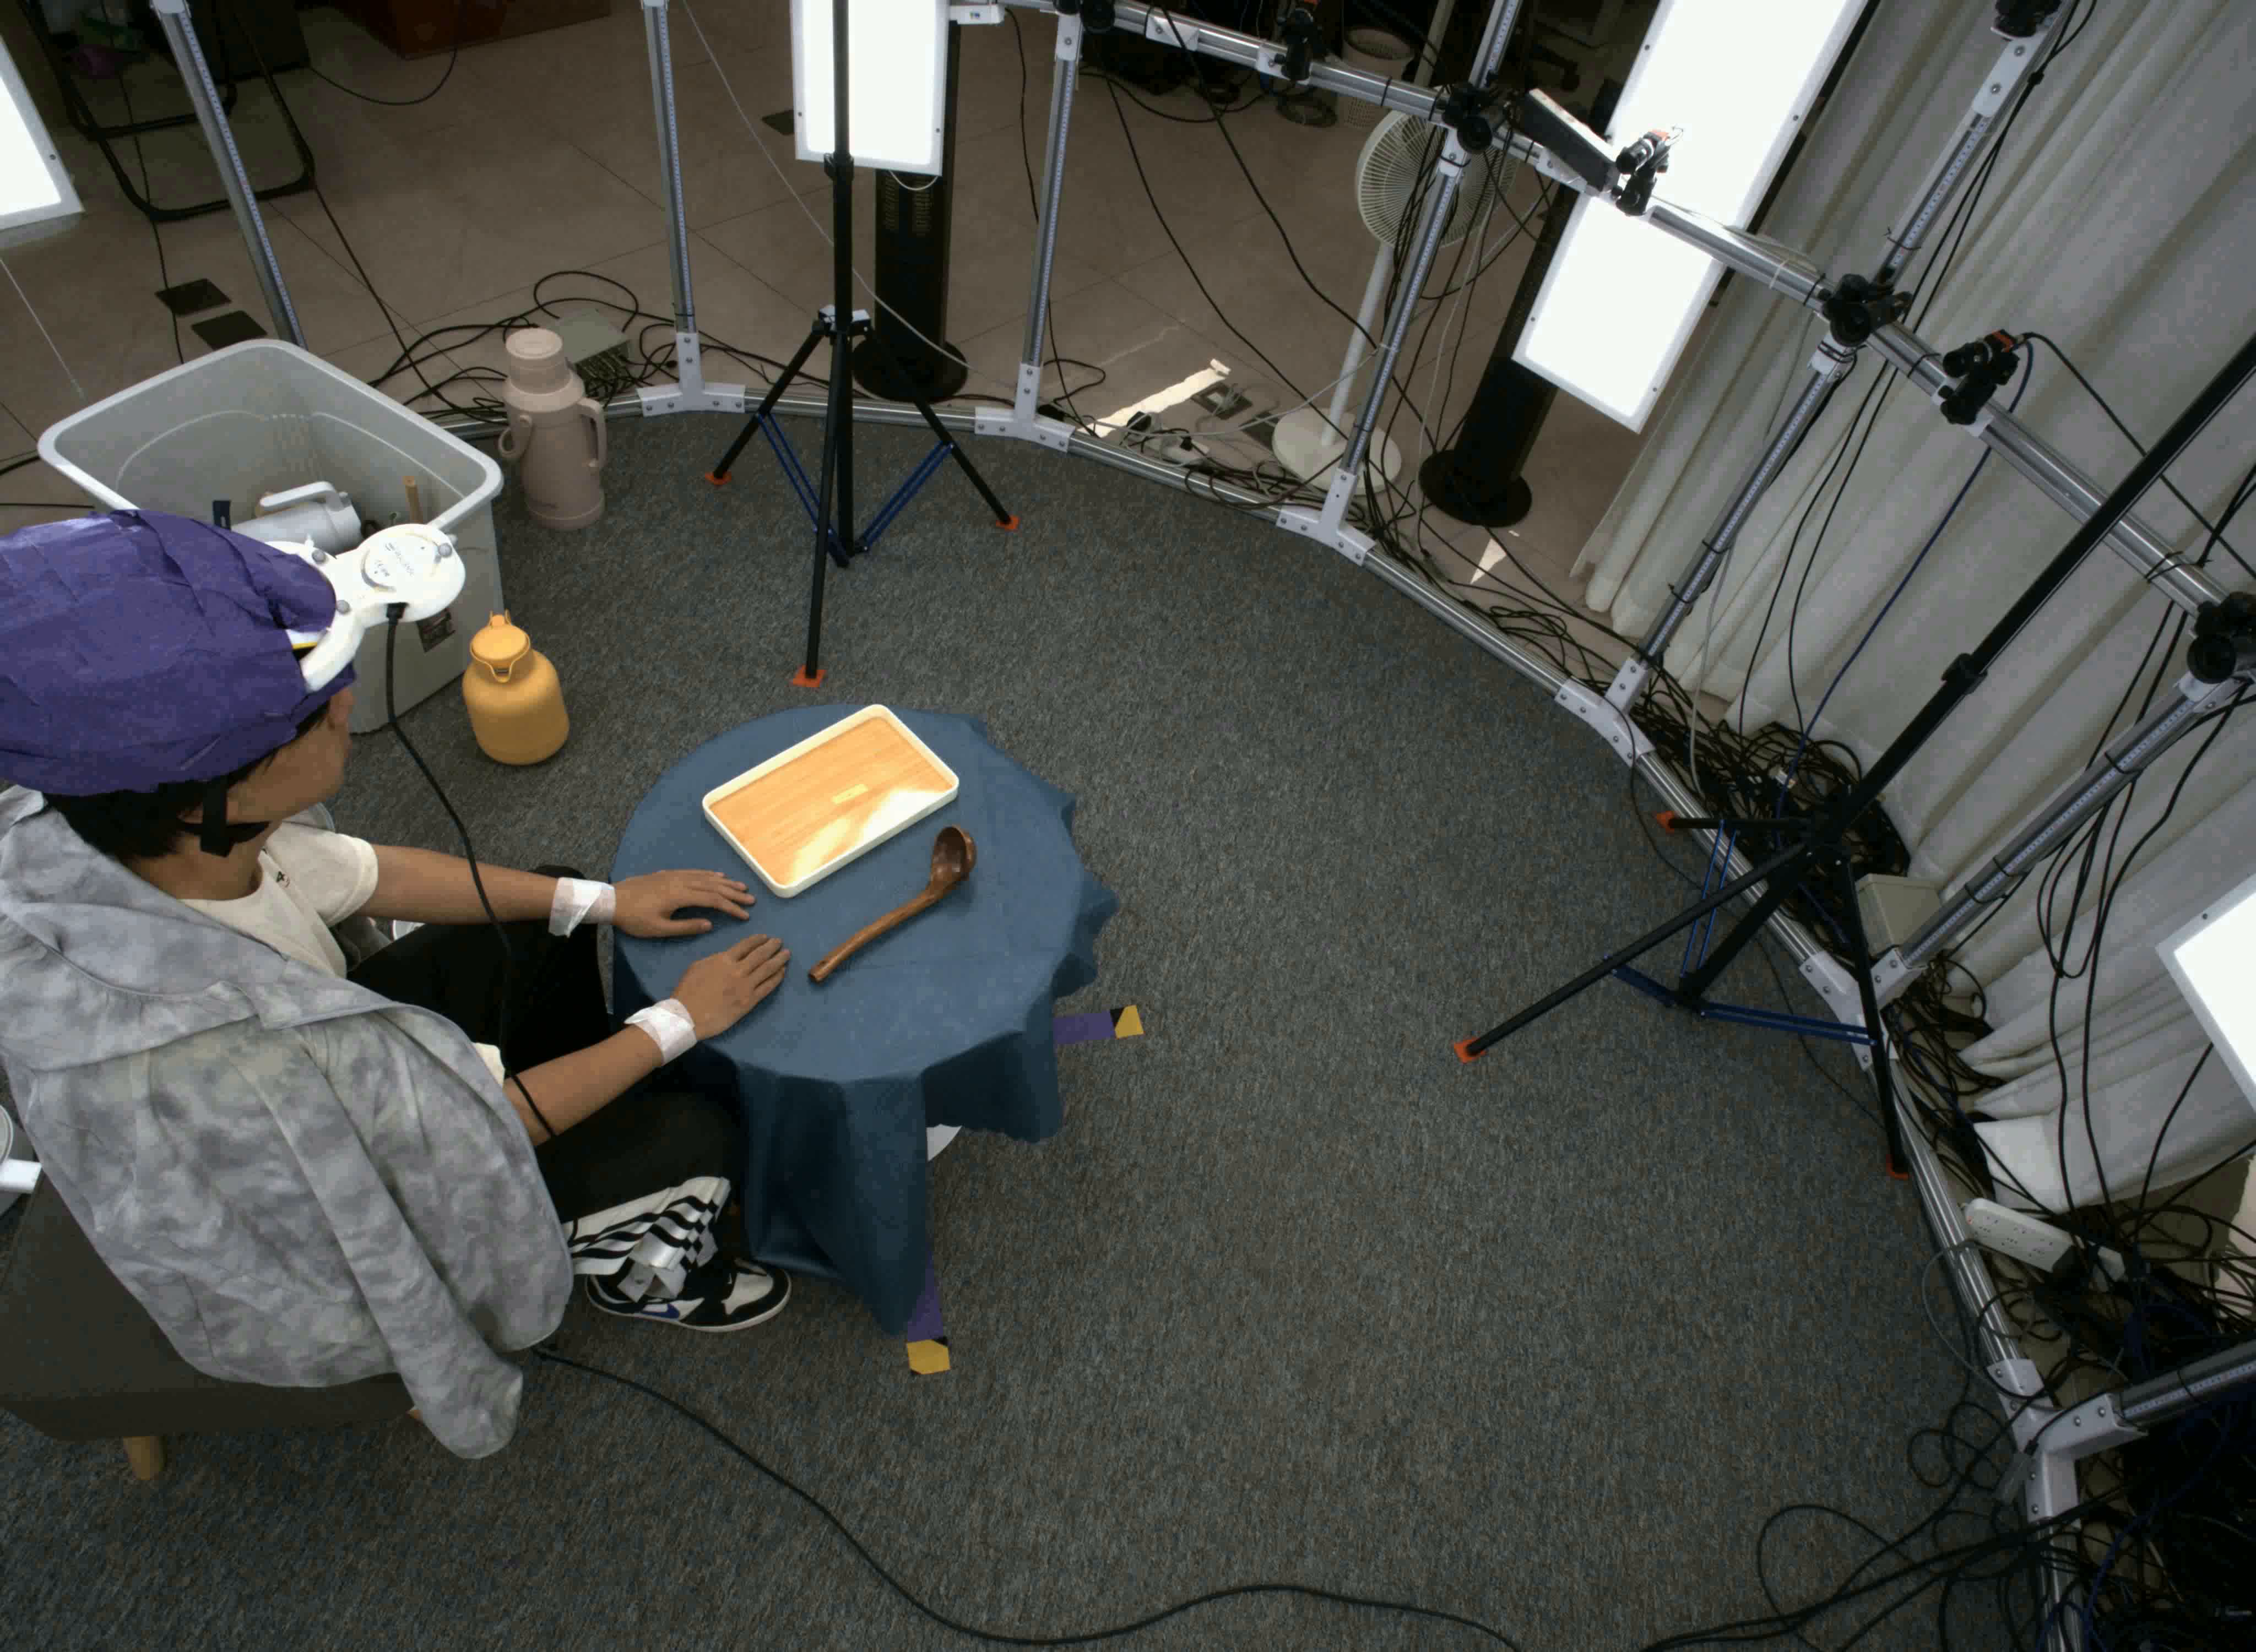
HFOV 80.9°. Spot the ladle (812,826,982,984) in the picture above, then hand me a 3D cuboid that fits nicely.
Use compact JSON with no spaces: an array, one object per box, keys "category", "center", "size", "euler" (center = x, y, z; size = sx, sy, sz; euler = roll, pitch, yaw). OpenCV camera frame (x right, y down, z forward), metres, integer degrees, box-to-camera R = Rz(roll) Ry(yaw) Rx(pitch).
[{"category":"ladle","center":[-0.295,0.093,1.644],"size":[0.275,0.079,0.079],"euler":[-34,27,-31]}]

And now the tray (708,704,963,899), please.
[{"category":"tray","center":[-0.390,-0.040,1.747],"size":[0.301,0.028,0.187],"euler":[-34,68,-32]}]
